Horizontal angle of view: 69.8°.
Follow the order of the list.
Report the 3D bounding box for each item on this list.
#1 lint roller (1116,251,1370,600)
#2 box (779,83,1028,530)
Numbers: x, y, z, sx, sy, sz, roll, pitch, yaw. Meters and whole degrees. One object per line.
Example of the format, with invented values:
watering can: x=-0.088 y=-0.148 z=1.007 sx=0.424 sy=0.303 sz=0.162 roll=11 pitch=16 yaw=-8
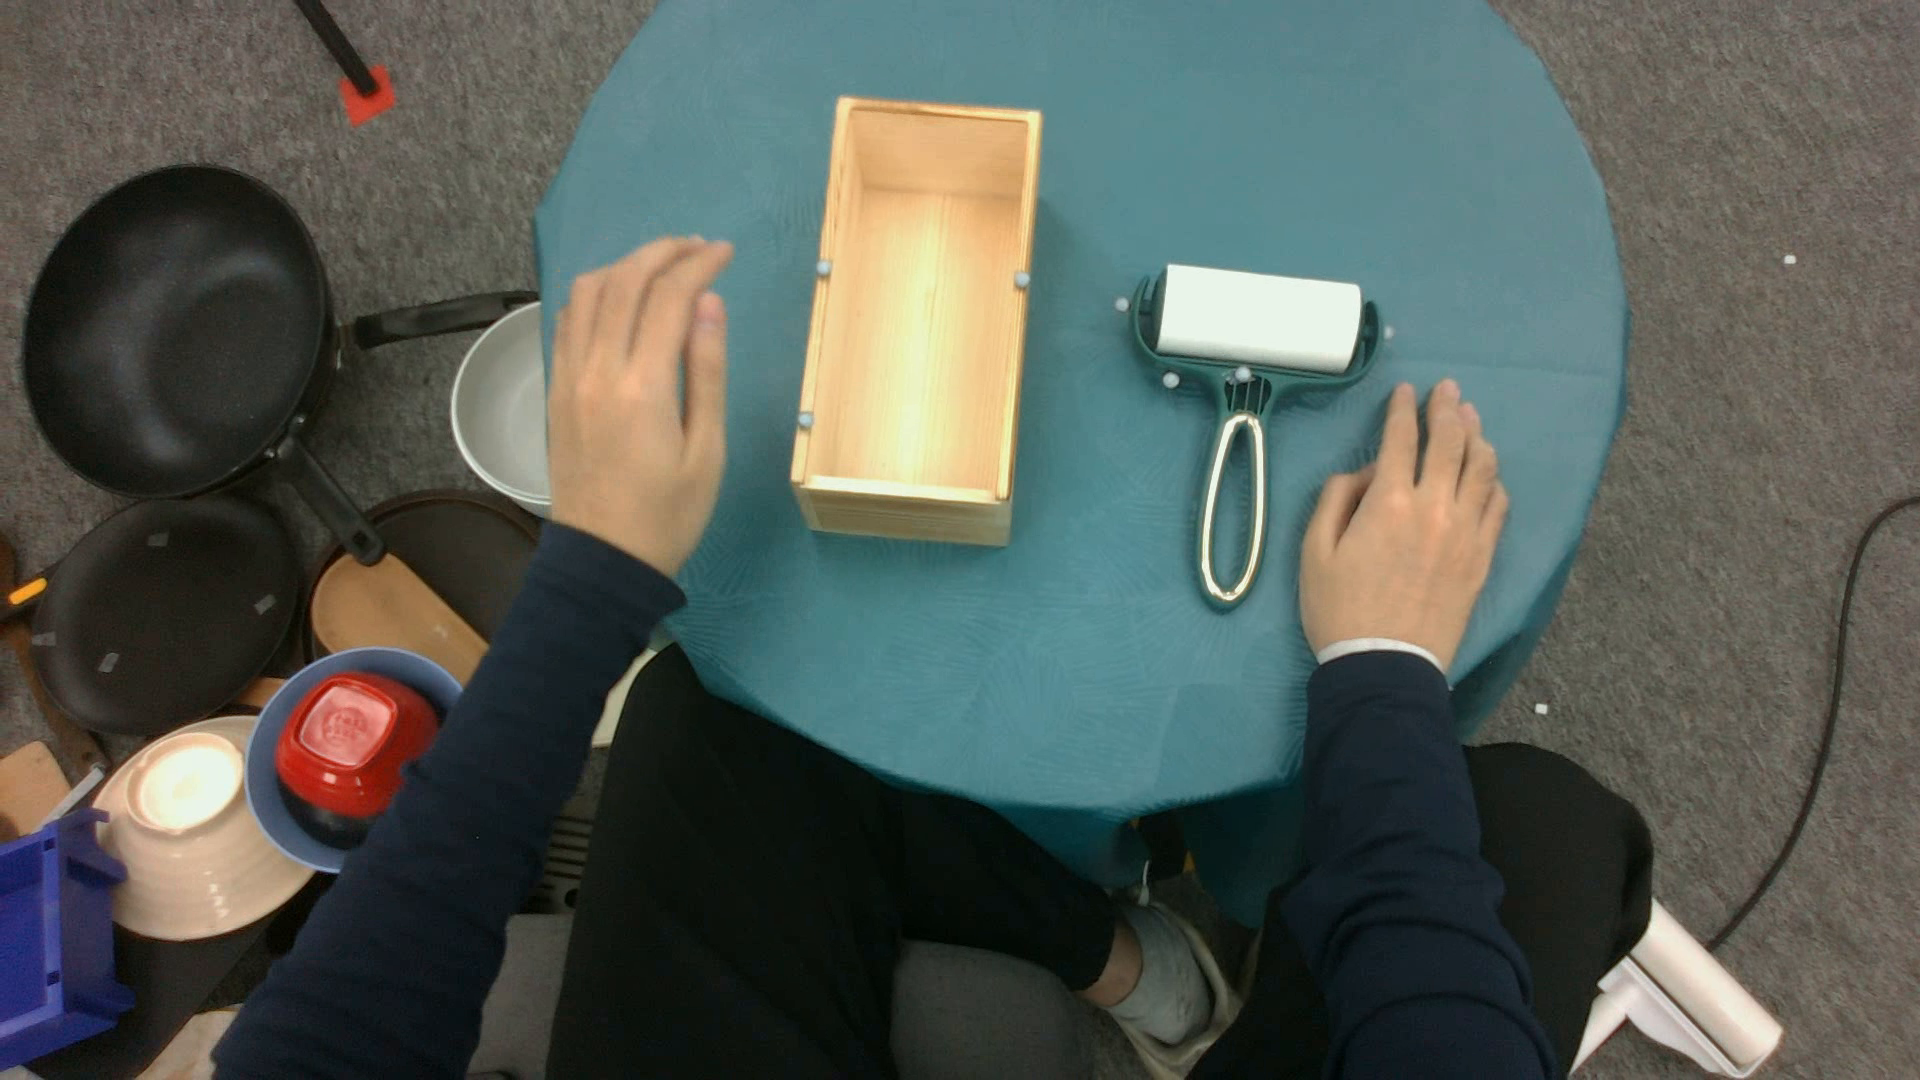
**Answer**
lint roller: x=0.140 y=-0.060 z=0.719 sx=0.134 sy=0.048 sz=0.180 roll=7 pitch=78 yaw=2
box: x=-0.026 y=-0.120 z=0.716 sx=0.107 sy=0.080 sz=0.212 roll=4 pitch=75 yaw=1
